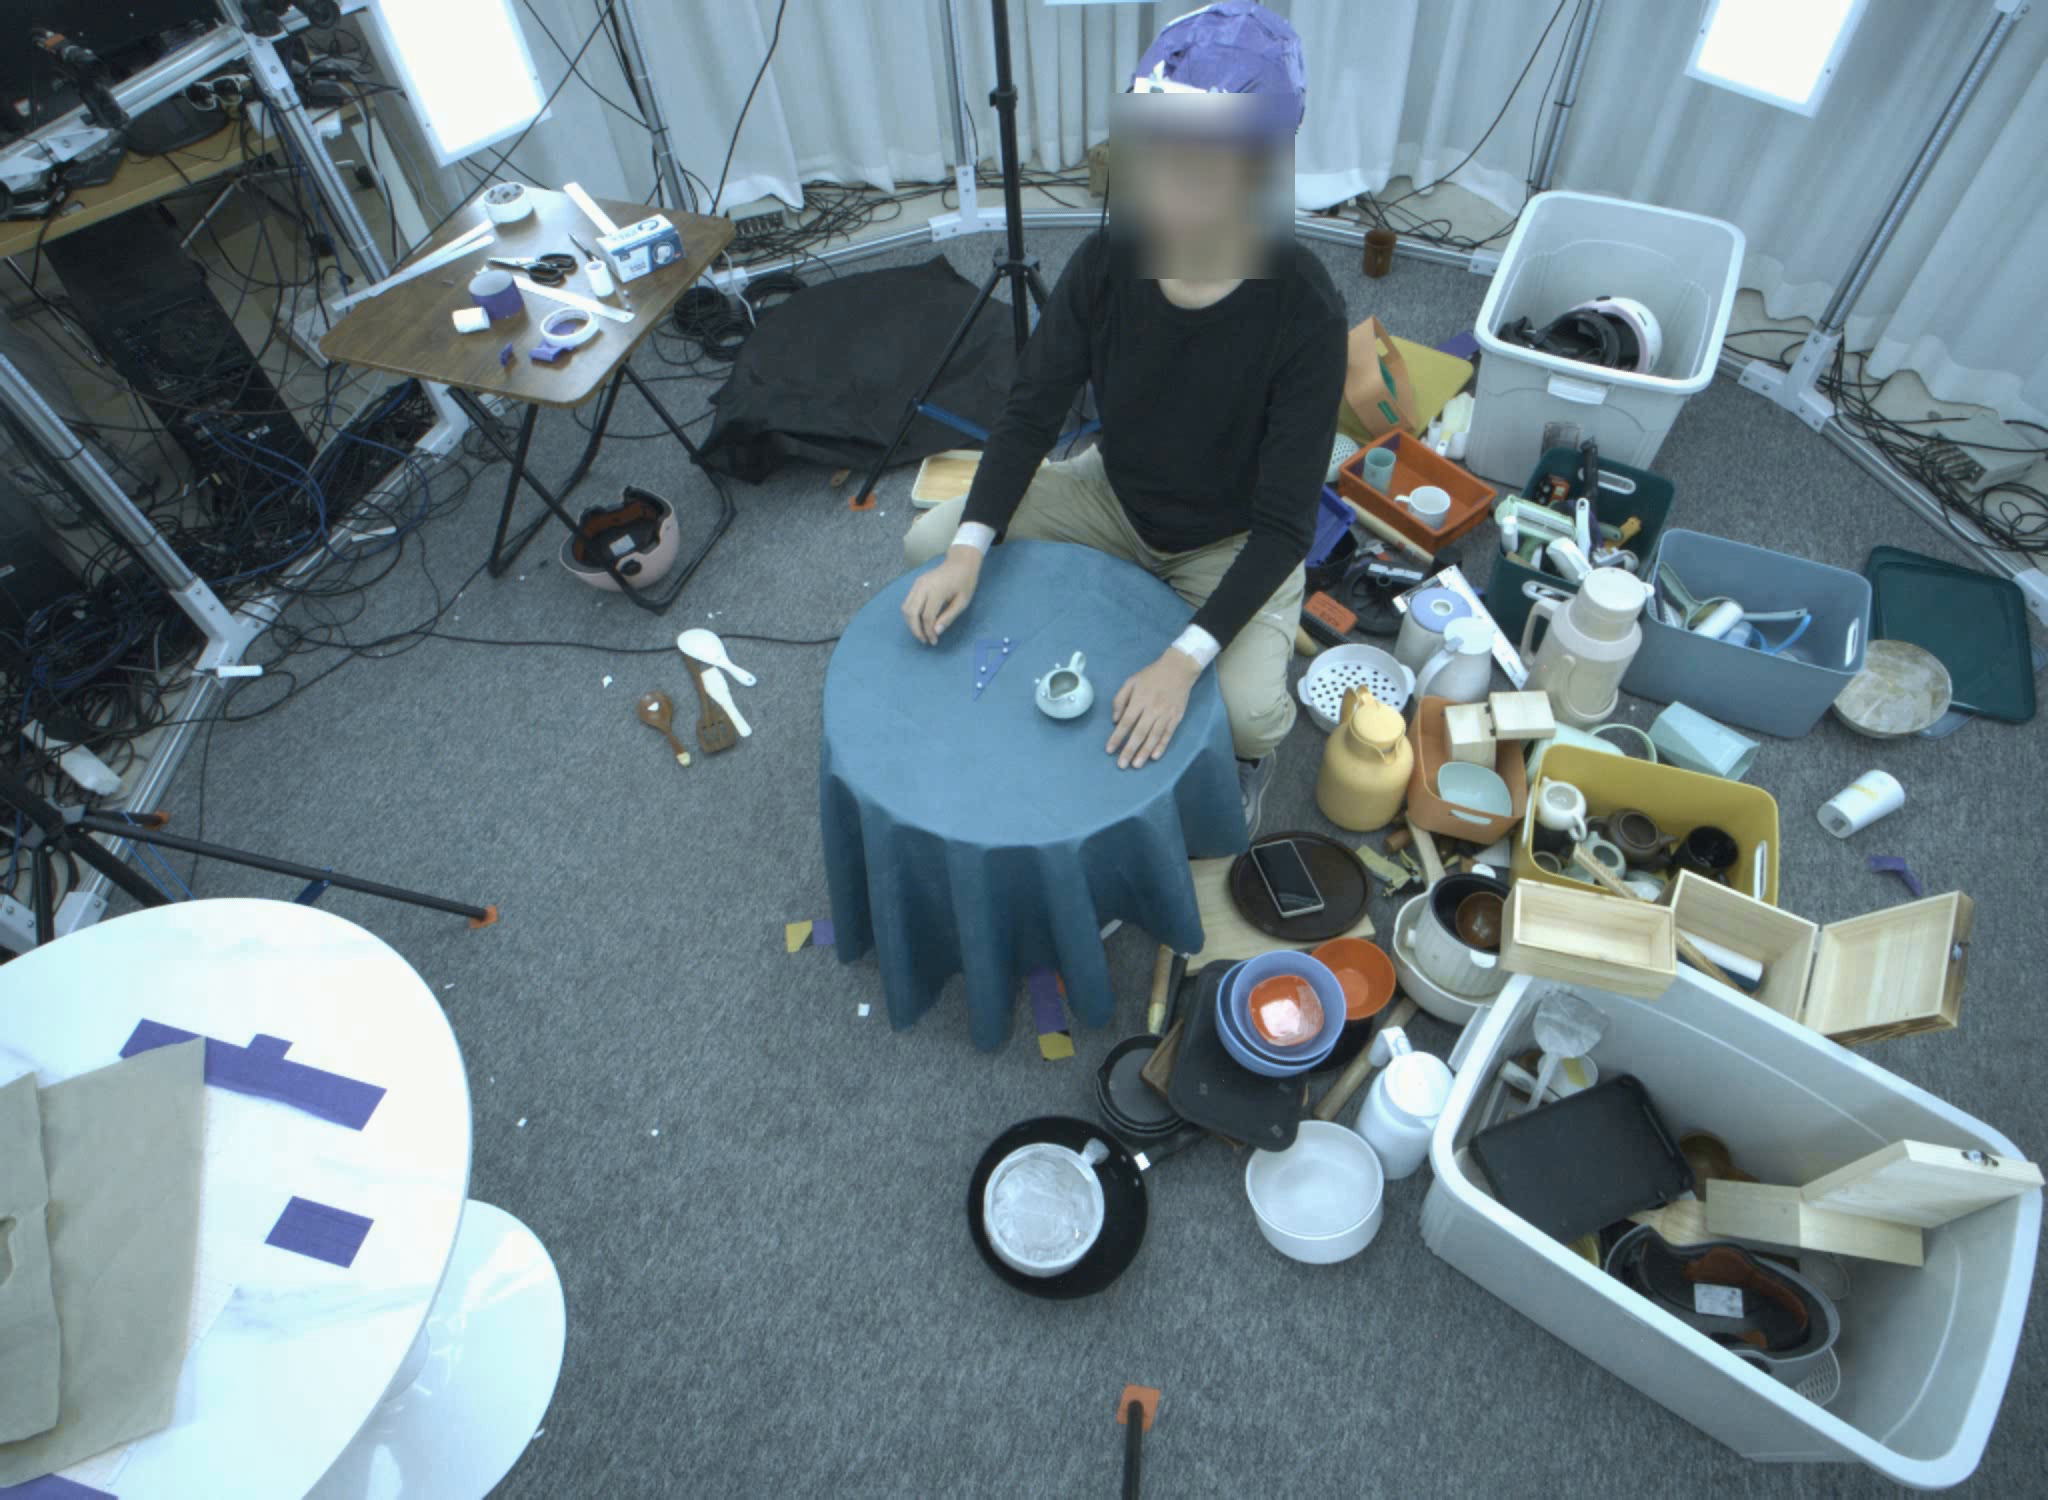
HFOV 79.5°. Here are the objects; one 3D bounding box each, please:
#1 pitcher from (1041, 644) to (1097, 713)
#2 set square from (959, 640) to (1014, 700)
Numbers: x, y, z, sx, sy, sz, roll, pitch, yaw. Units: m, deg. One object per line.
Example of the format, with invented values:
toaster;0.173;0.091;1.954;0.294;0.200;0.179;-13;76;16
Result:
pitcher;0.070;-0.106;1.819;0.084;0.061;0.108;31;79;33
set square;-0.075;-0.132;1.881;0.060;0.006;0.132;29;61;19
